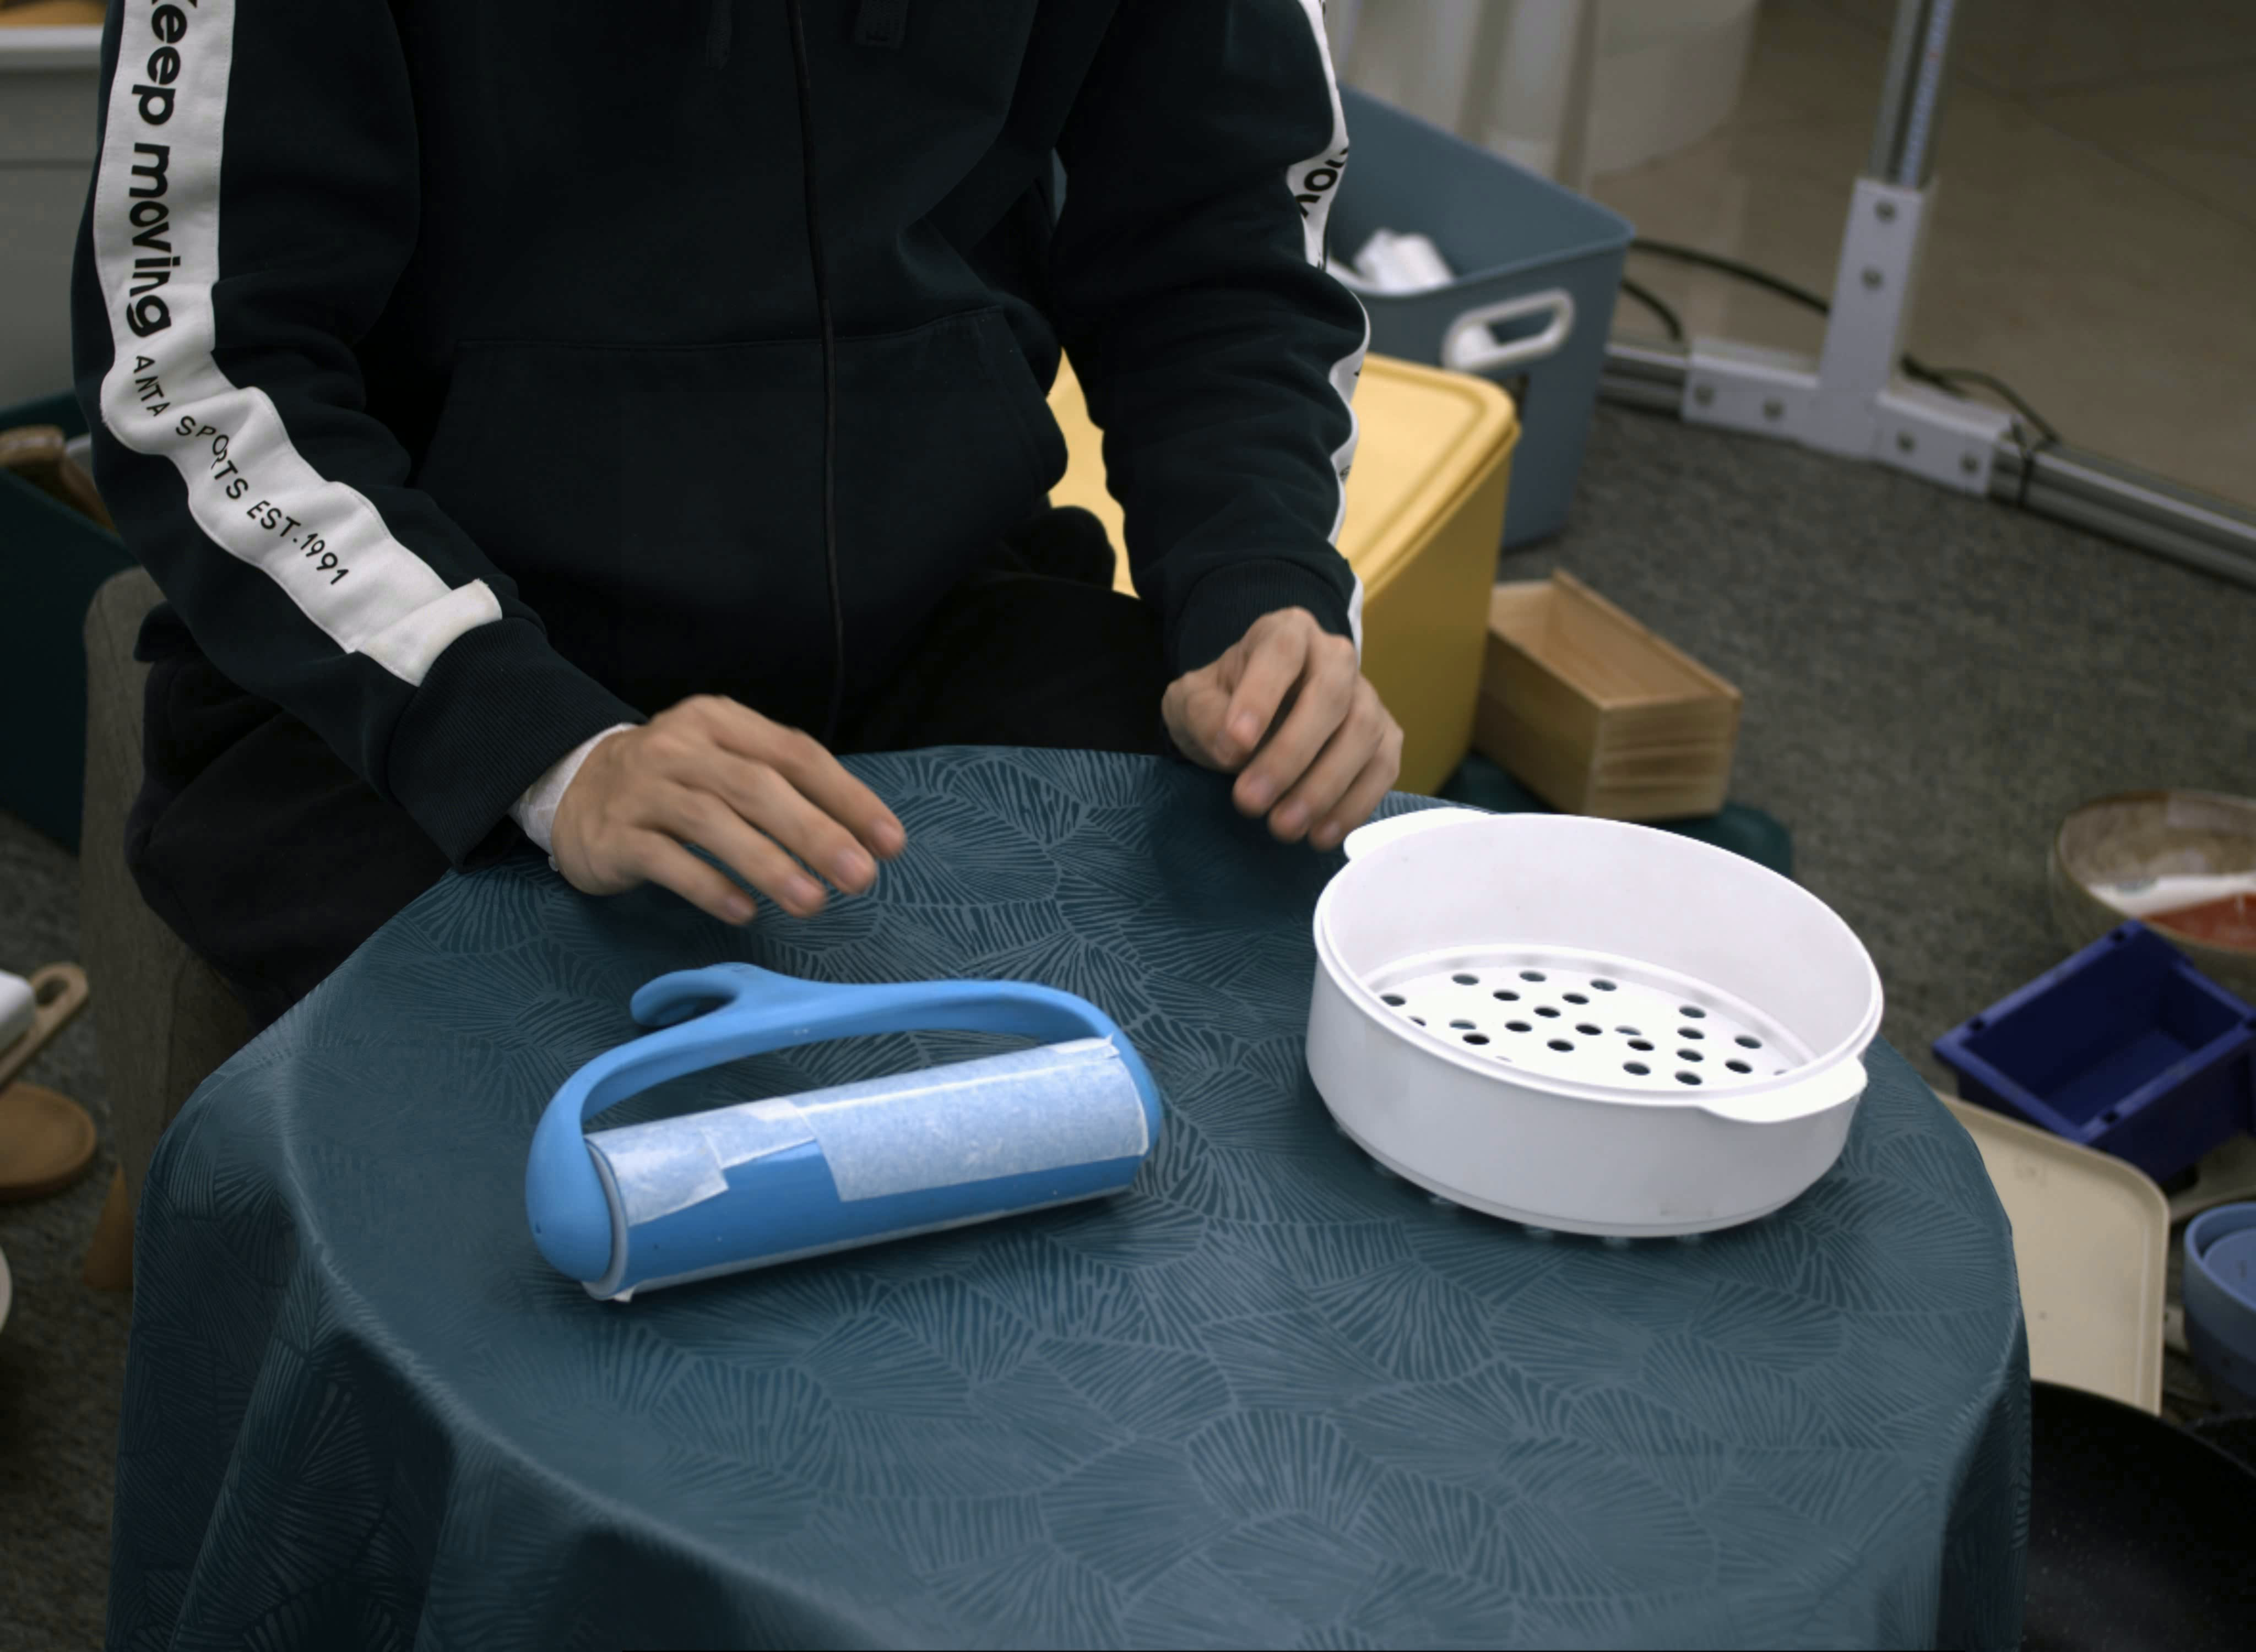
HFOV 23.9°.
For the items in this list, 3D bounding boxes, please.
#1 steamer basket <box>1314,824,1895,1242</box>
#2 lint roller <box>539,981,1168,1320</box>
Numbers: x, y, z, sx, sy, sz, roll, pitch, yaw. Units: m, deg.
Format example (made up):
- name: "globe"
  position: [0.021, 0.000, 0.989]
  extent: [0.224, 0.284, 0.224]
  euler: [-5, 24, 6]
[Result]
- name: "steamer basket"
  position: [0.164, 0.073, 1.860]
  extent: [0.200, 0.069, 0.232]
  euler: [-12, 31, -34]
- name: "lint roller"
  position: [-0.119, 0.087, 1.784]
  extent: [0.227, 0.067, 0.182]
  euler: [-14, 34, -31]
